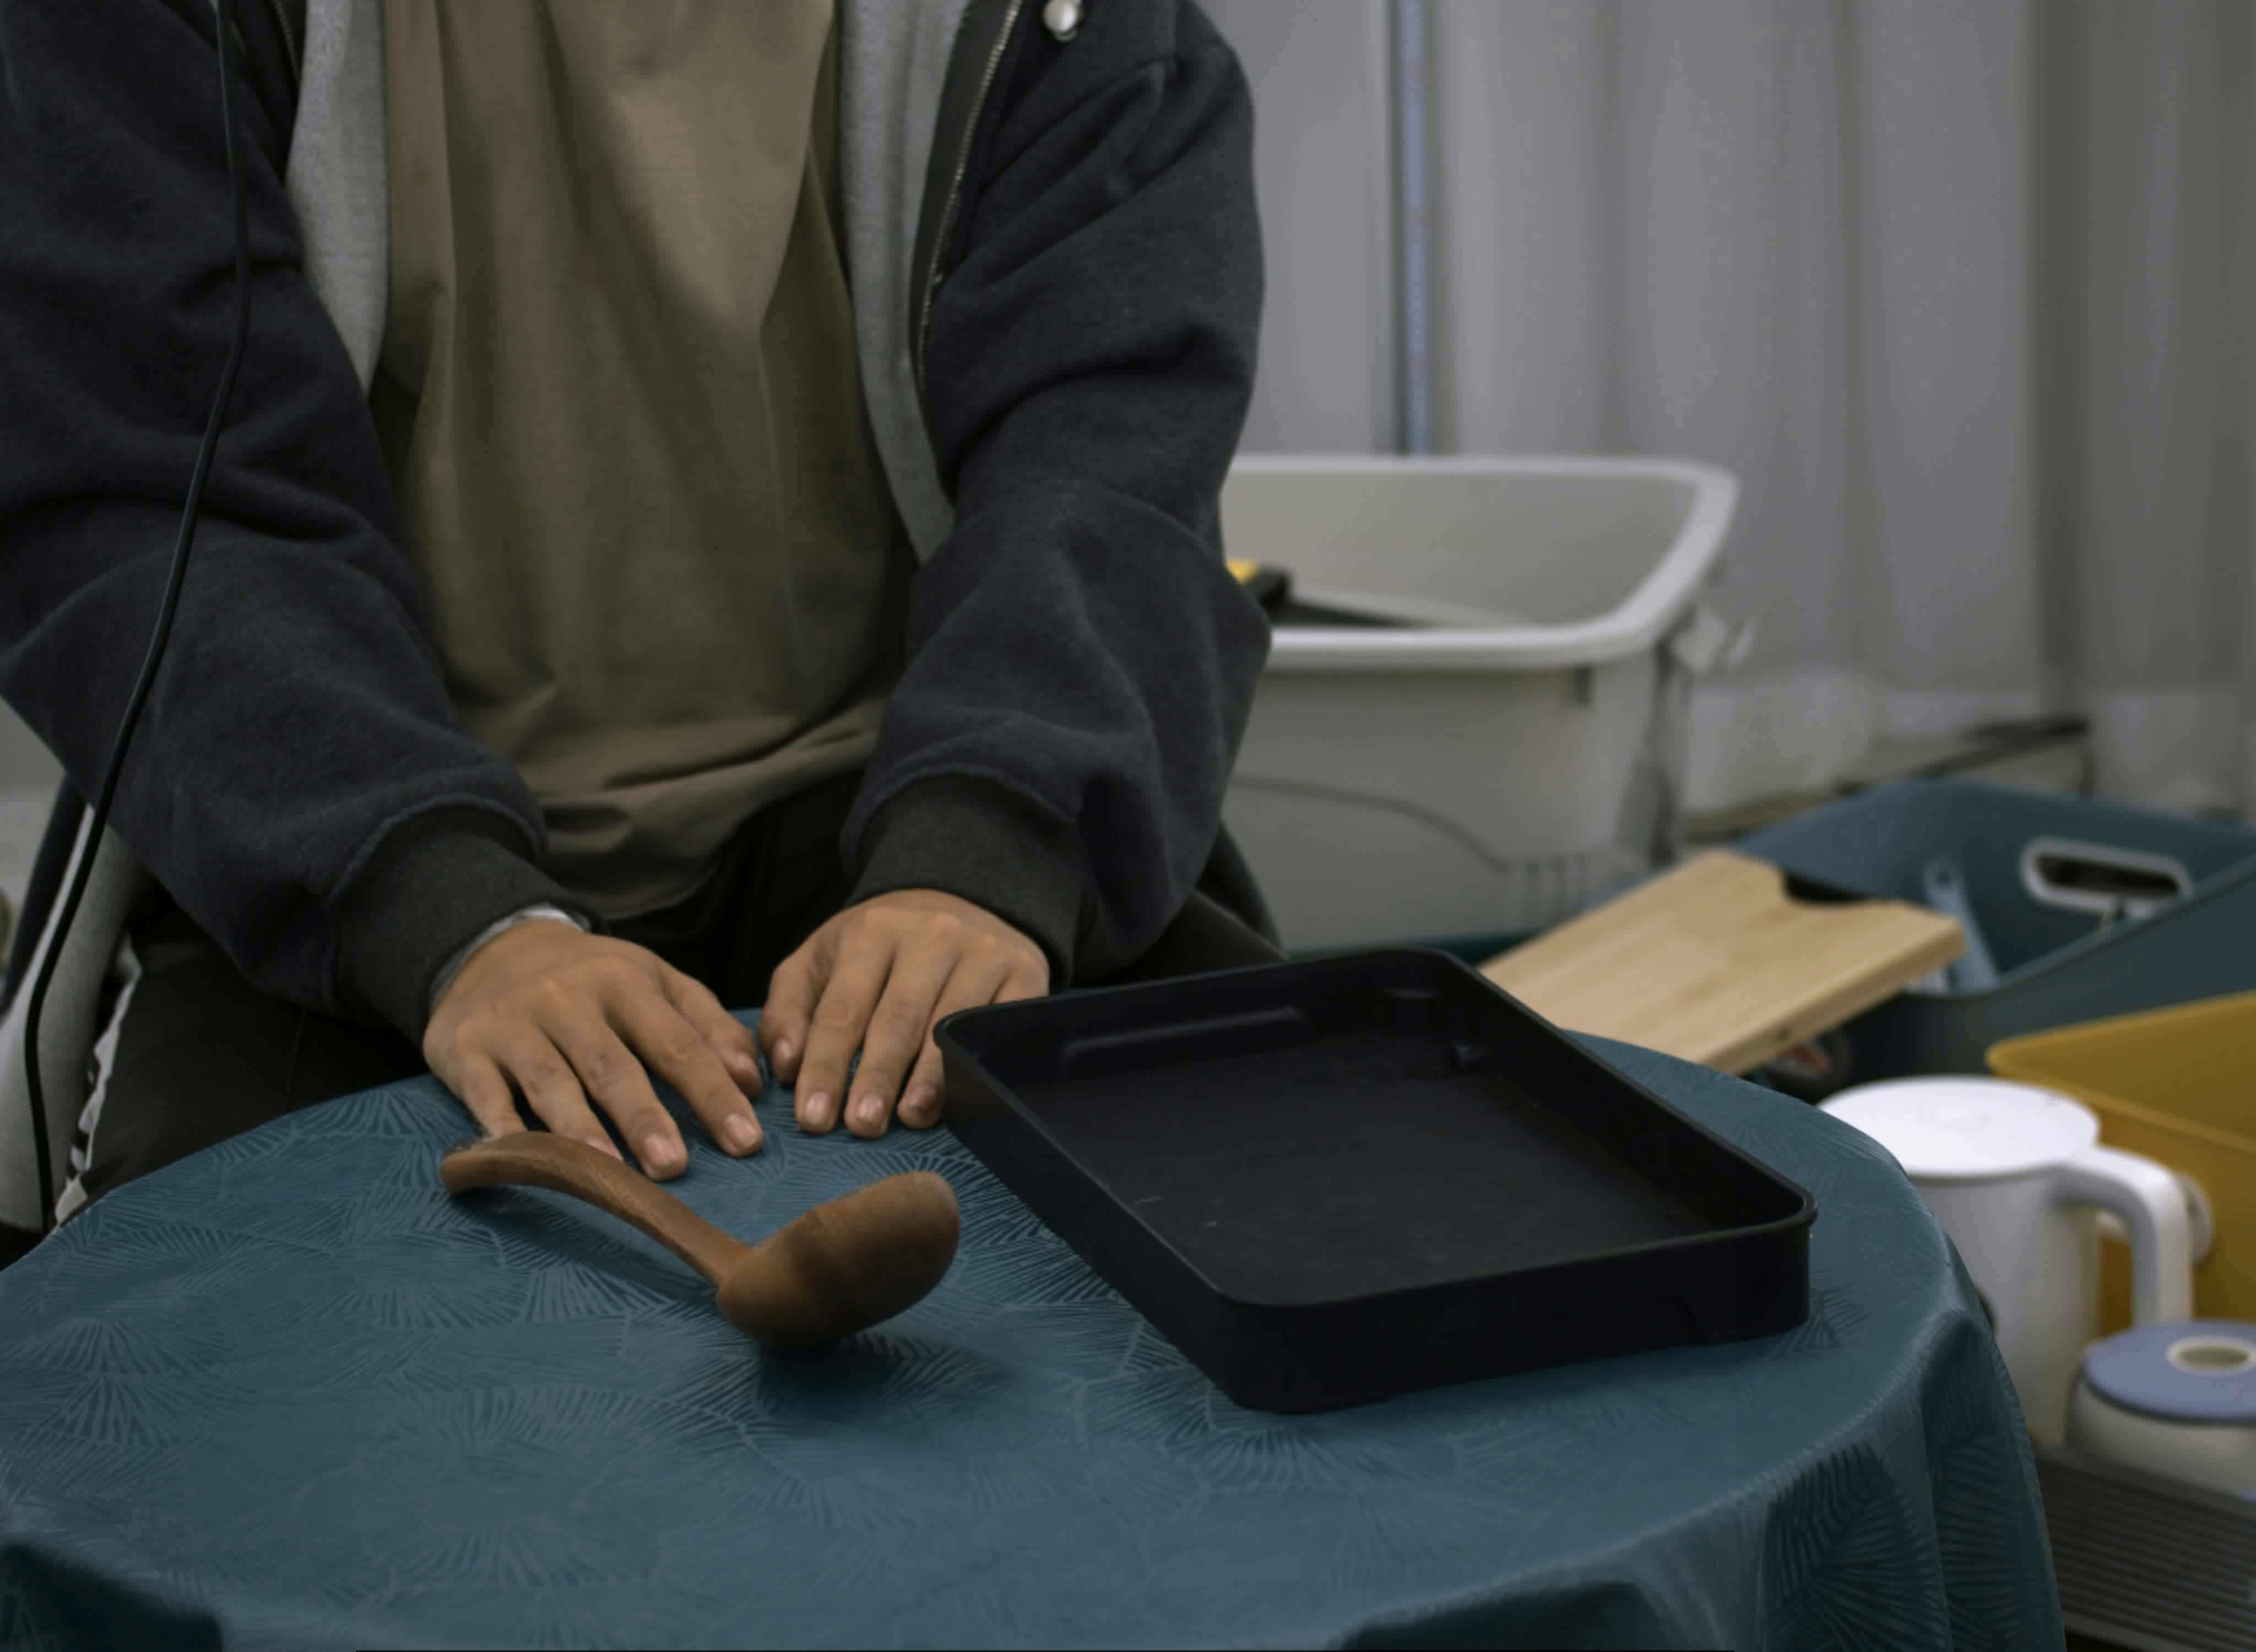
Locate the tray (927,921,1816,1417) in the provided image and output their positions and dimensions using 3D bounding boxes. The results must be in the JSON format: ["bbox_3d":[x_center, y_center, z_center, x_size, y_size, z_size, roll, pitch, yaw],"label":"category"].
[{"bbox_3d":[0.067,0.099,1.680,0.183,0.037,0.321,-8,17,-17],"label":"tray"}]

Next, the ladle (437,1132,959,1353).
[{"bbox_3d":[-0.140,0.108,1.645,0.076,0.065,0.262,-14,18,-33],"label":"ladle"}]
